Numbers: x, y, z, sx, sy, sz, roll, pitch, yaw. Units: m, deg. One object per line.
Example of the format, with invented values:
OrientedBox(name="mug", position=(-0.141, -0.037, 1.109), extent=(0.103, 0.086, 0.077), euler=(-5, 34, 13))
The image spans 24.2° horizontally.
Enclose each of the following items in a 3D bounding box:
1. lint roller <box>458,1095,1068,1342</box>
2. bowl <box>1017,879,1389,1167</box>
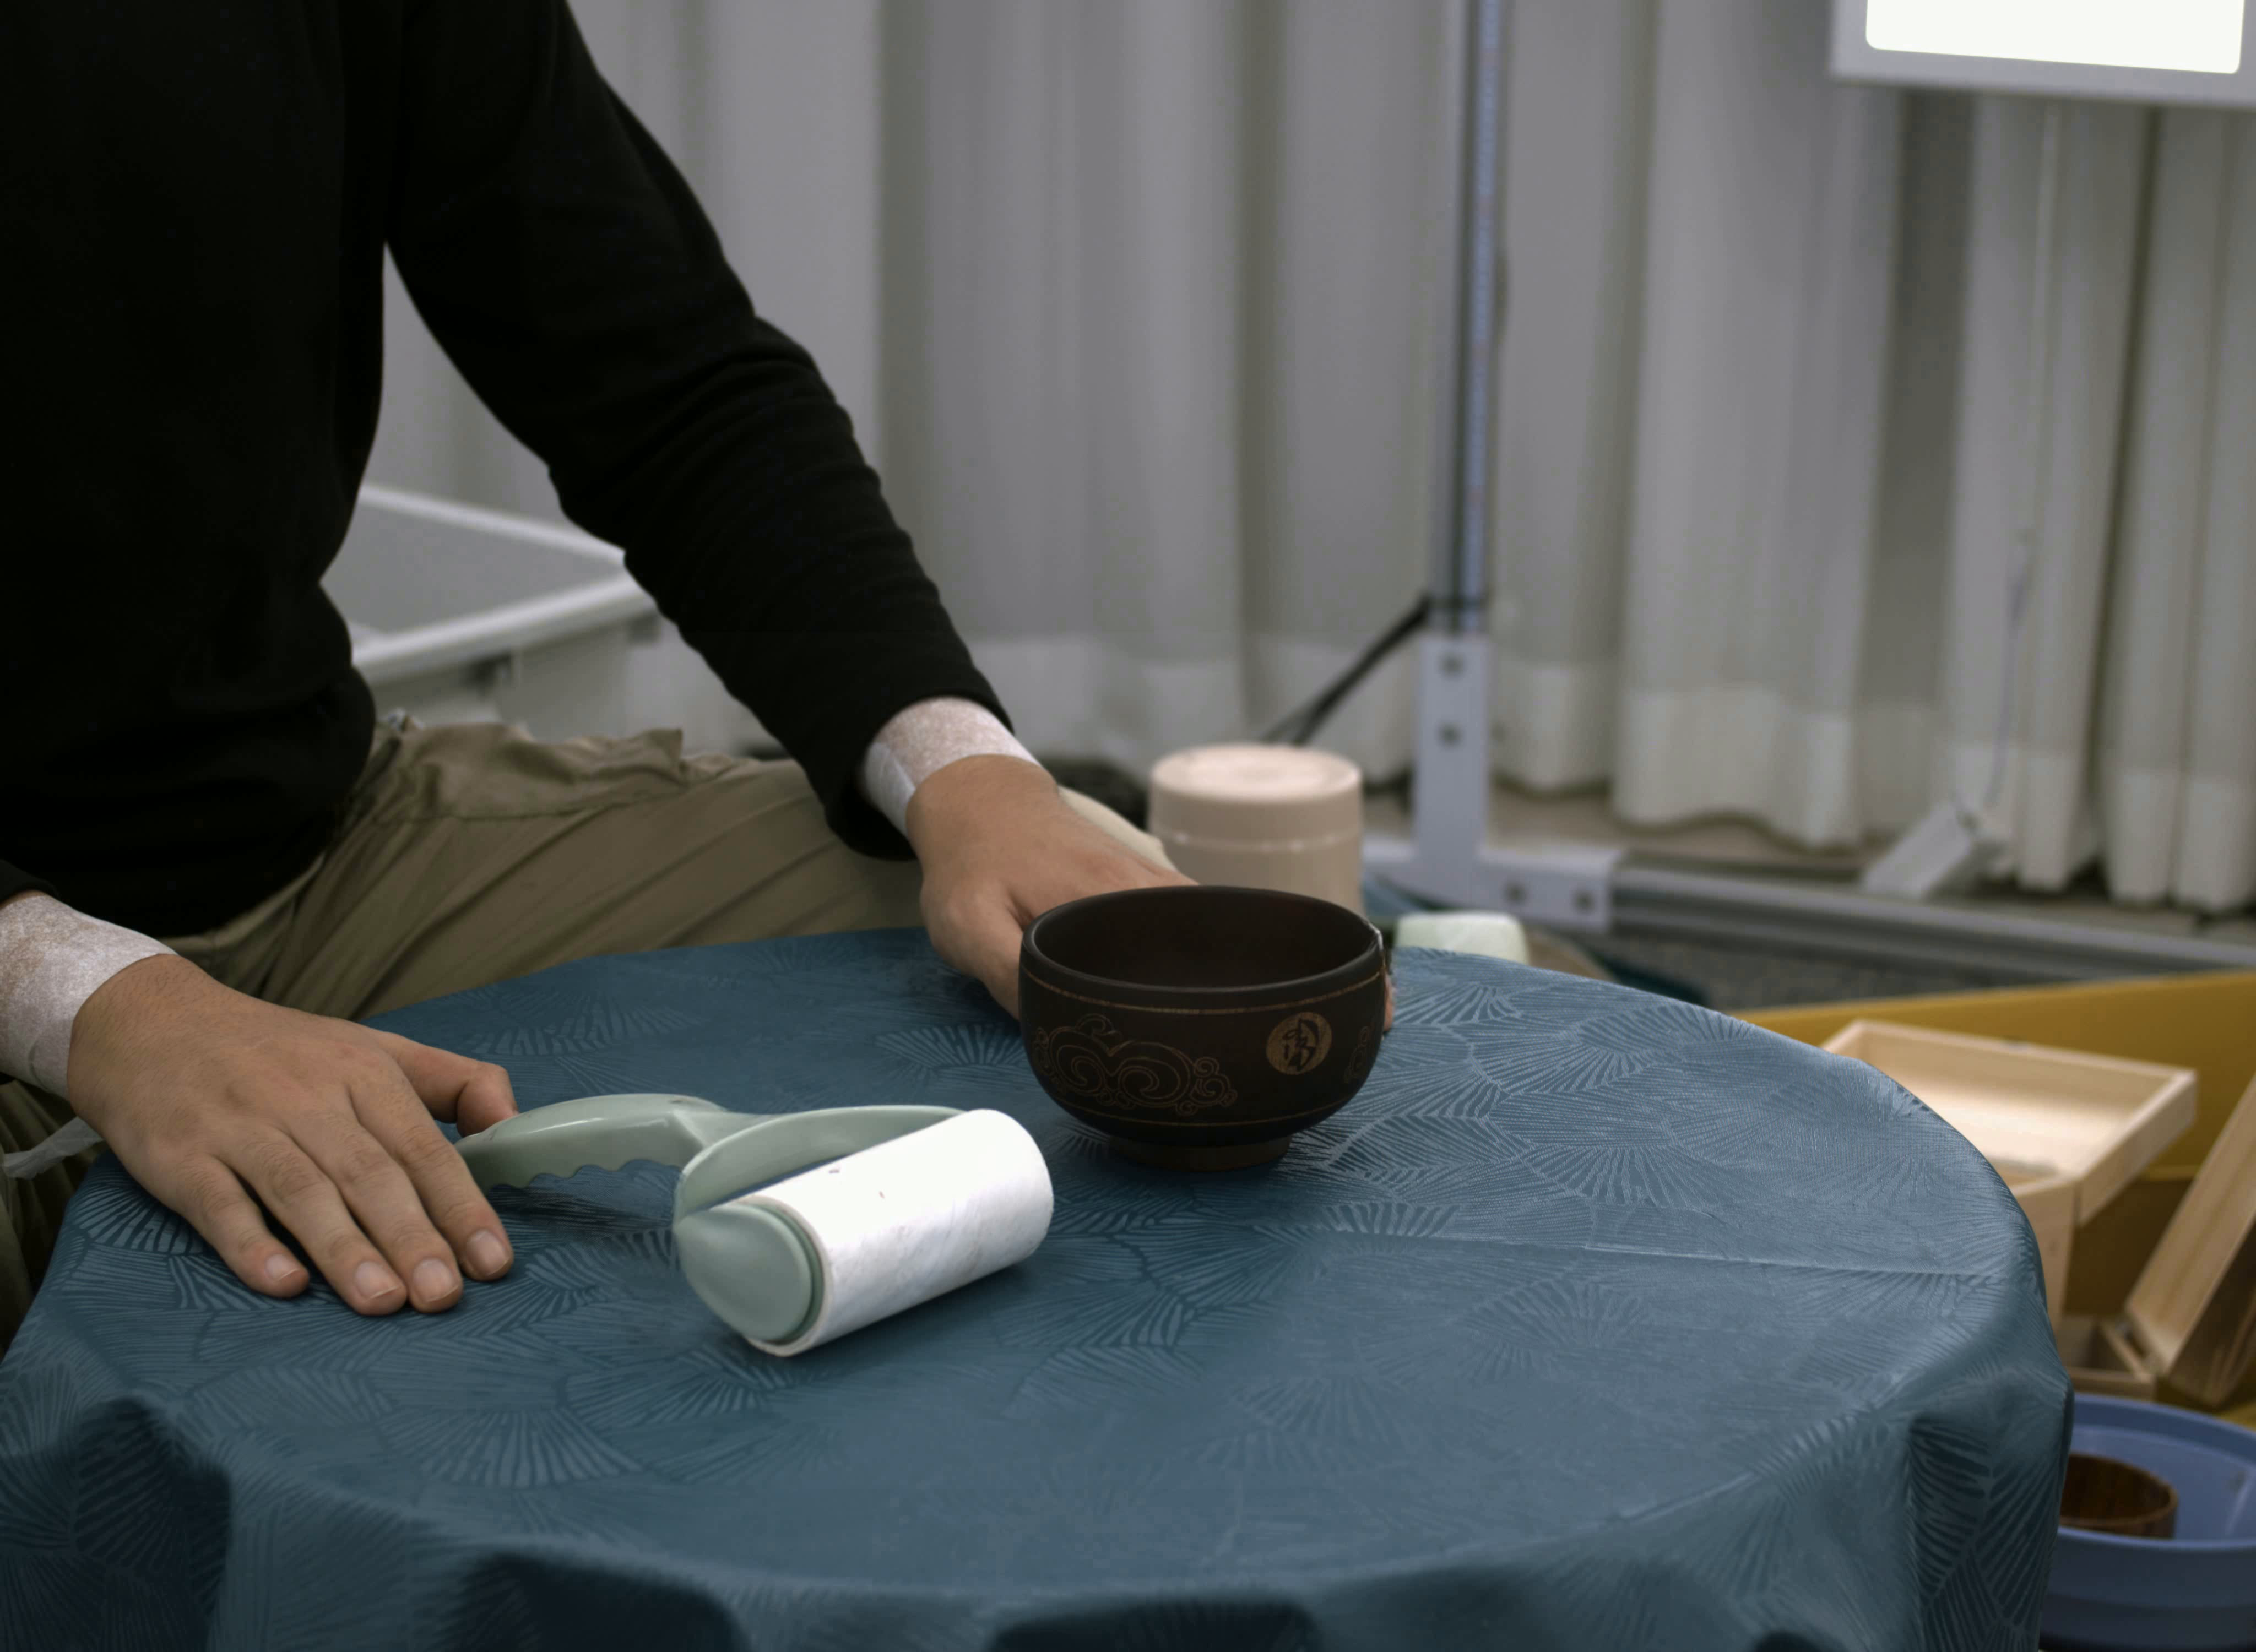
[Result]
OrientedBox(name="lint roller", position=(-0.123, 0.104, 1.564), extent=(0.195, 0.049, 0.117), euler=(10, 19, 36))
OrientedBox(name="bowl", position=(0.024, 0.065, 1.655), extent=(0.117, 0.070, 0.117), euler=(-1, 16, 1))
